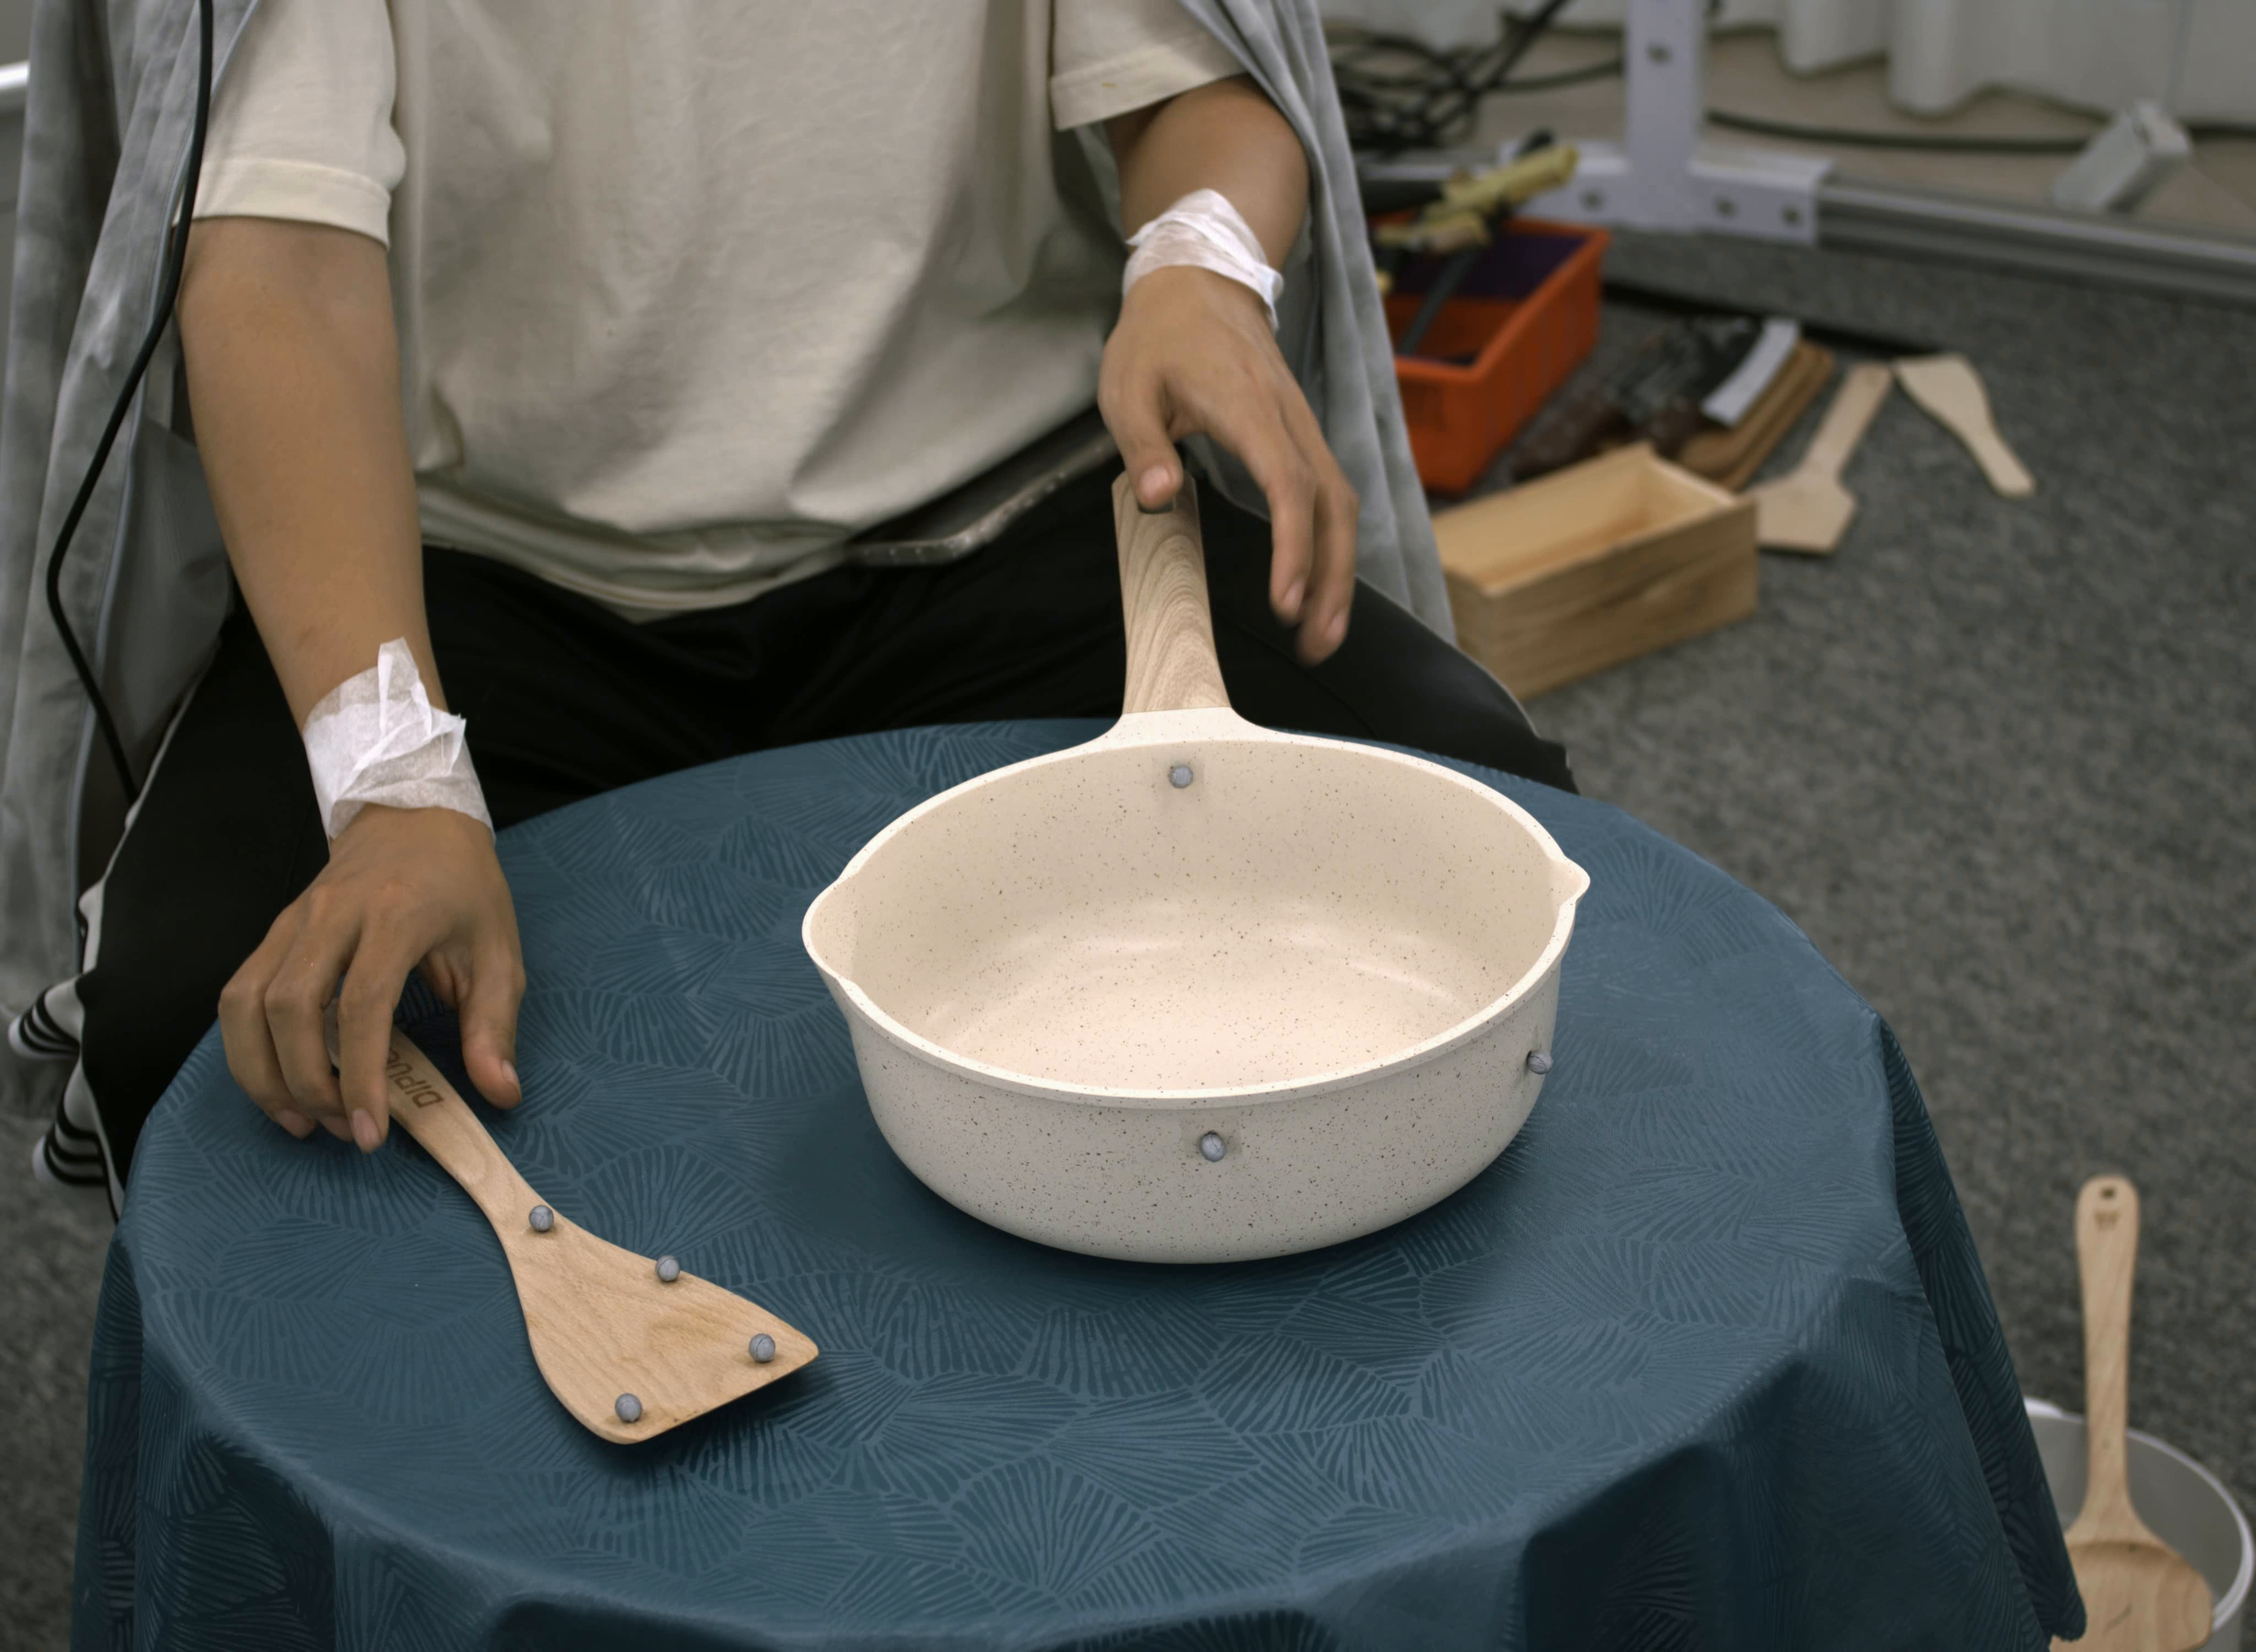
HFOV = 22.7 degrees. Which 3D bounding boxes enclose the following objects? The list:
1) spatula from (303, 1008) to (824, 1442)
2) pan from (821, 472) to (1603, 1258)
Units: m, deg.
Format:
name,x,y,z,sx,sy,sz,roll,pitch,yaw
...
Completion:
name,x,y,z,sx,sy,sz,roll,pitch,yaw
spatula,-0.201,0.125,1.856,0.080,0.016,0.329,-17,30,-25
pan,0.026,0.010,1.965,0.262,0.101,0.441,-5,27,-1
